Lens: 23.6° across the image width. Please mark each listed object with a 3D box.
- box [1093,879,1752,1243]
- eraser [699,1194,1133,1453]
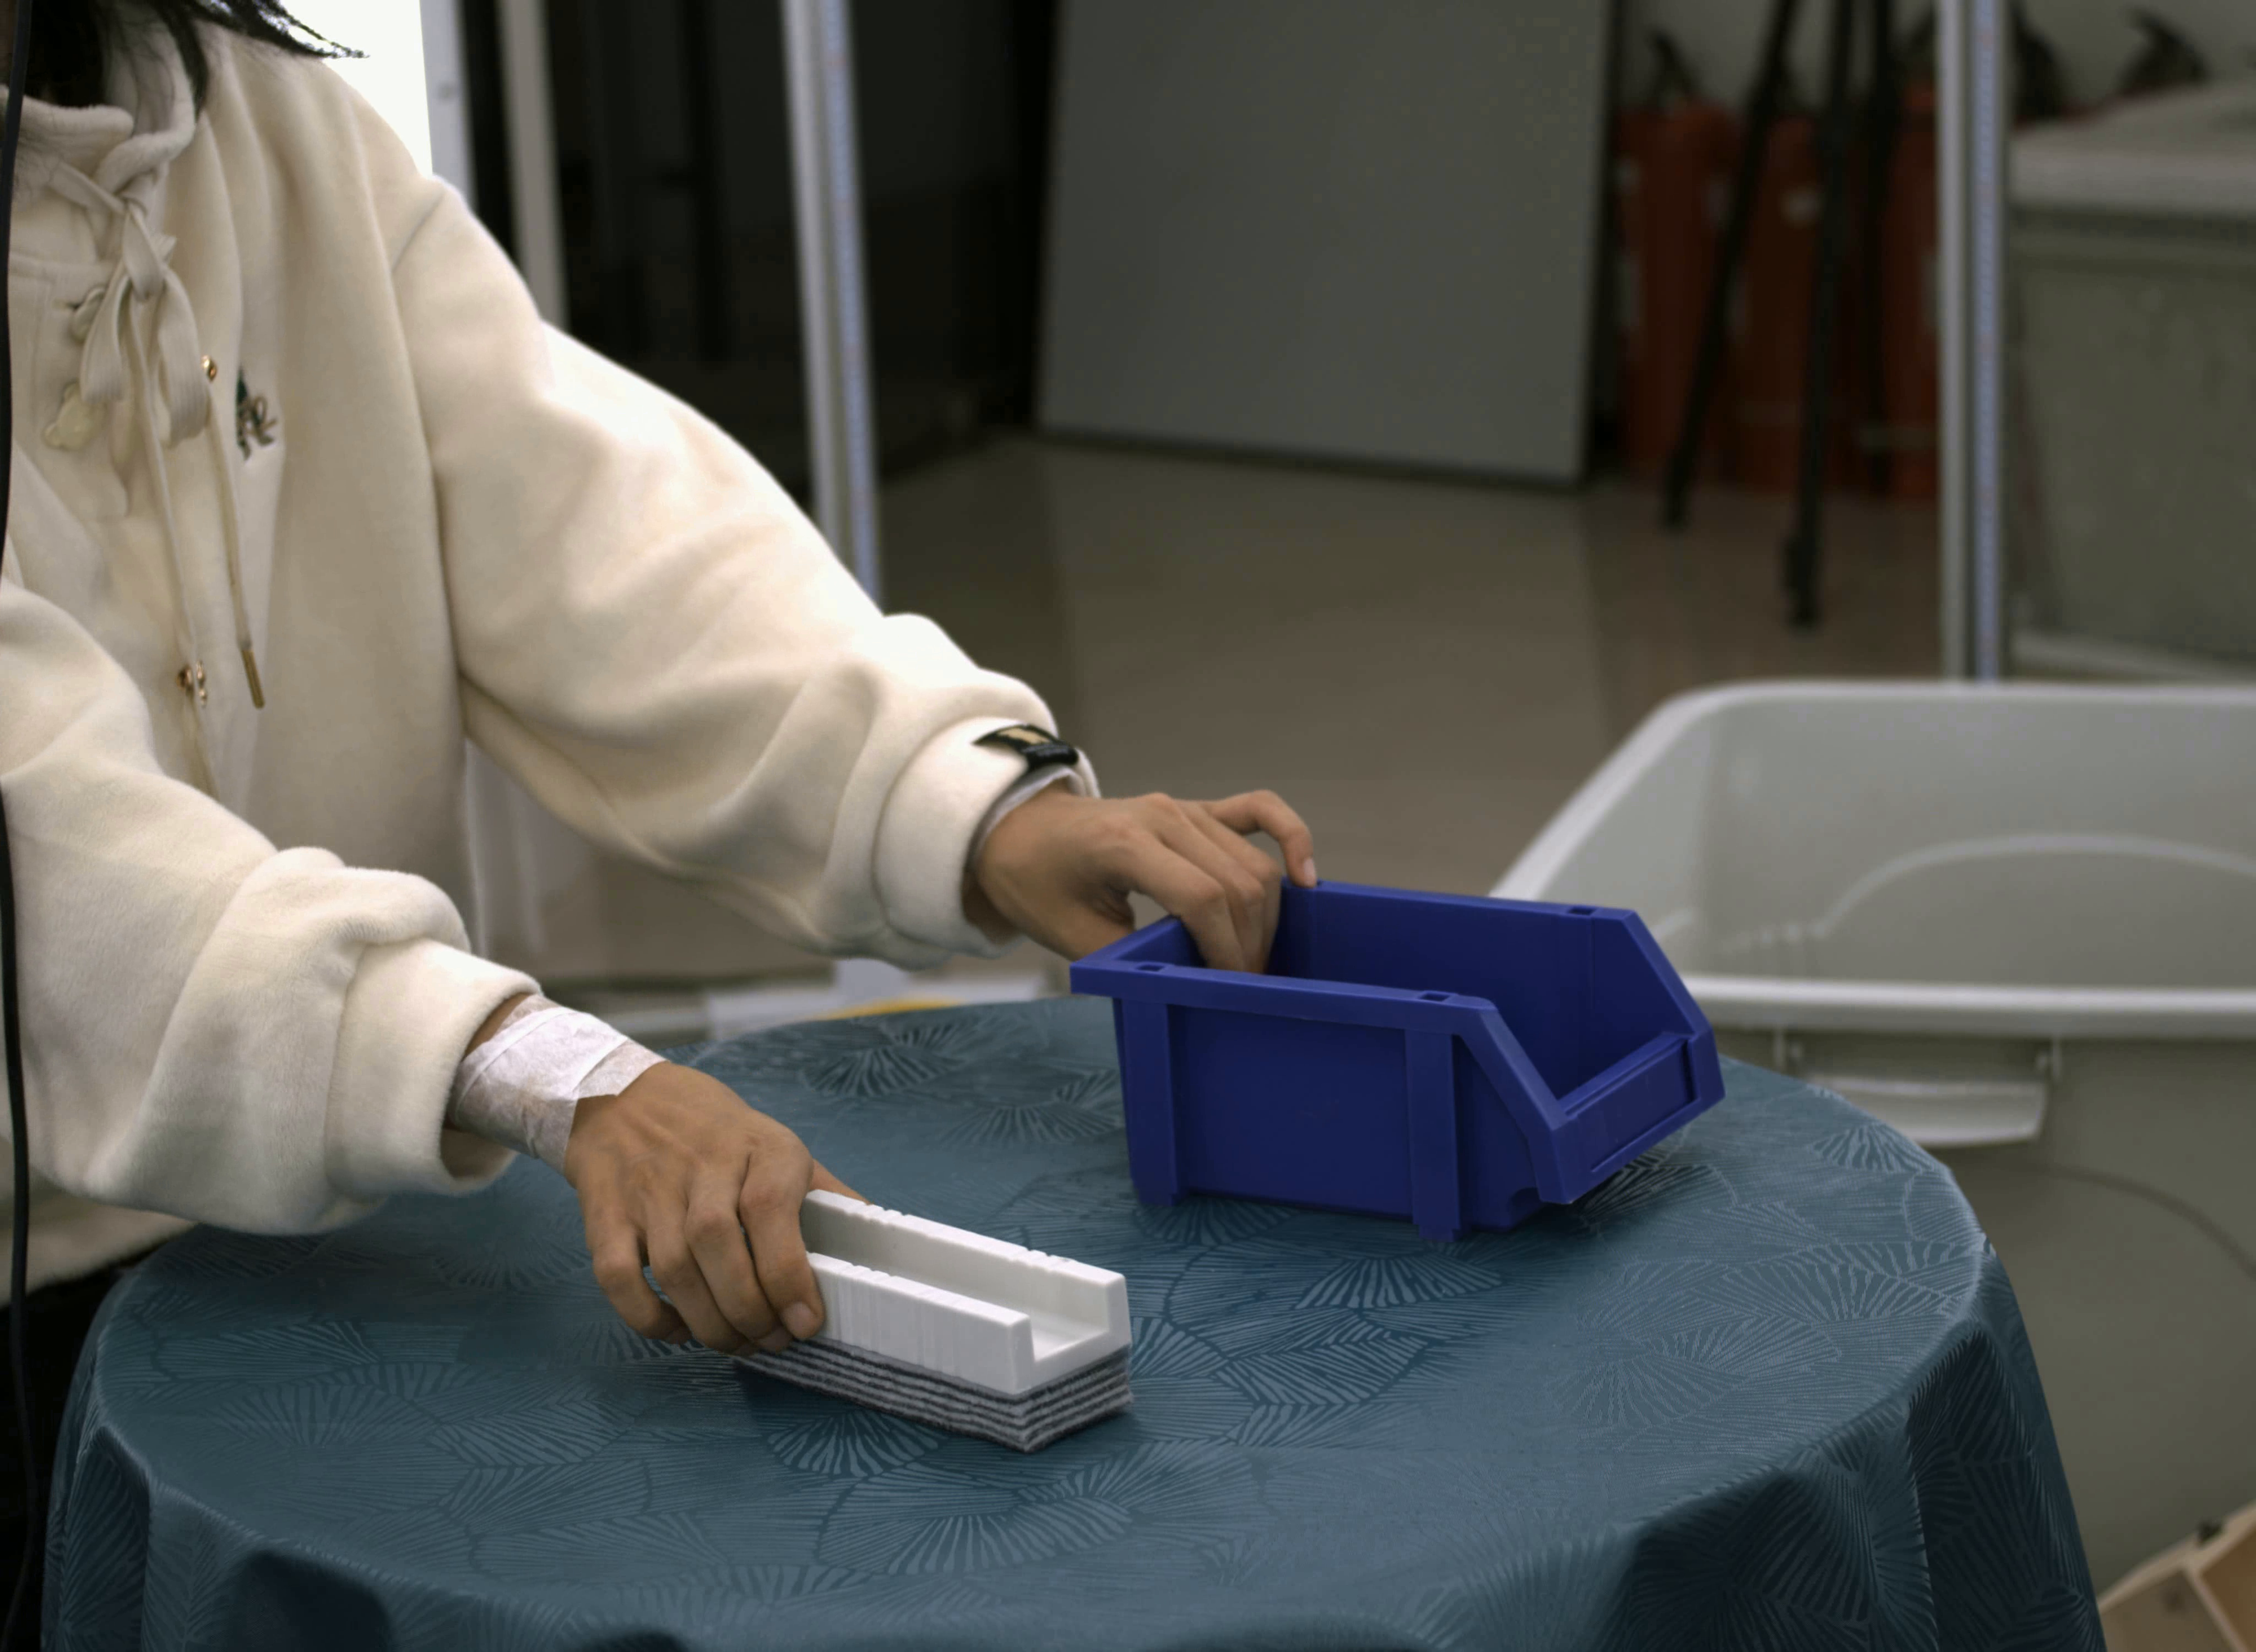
[{"bbox_3d":[0.098,0.075,1.756,0.180,0.083,0.122,3,15,34],"label":"box"},{"bbox_3d":[-0.063,0.145,1.589,0.135,0.047,0.049,10,23,42],"label":"eraser"}]
